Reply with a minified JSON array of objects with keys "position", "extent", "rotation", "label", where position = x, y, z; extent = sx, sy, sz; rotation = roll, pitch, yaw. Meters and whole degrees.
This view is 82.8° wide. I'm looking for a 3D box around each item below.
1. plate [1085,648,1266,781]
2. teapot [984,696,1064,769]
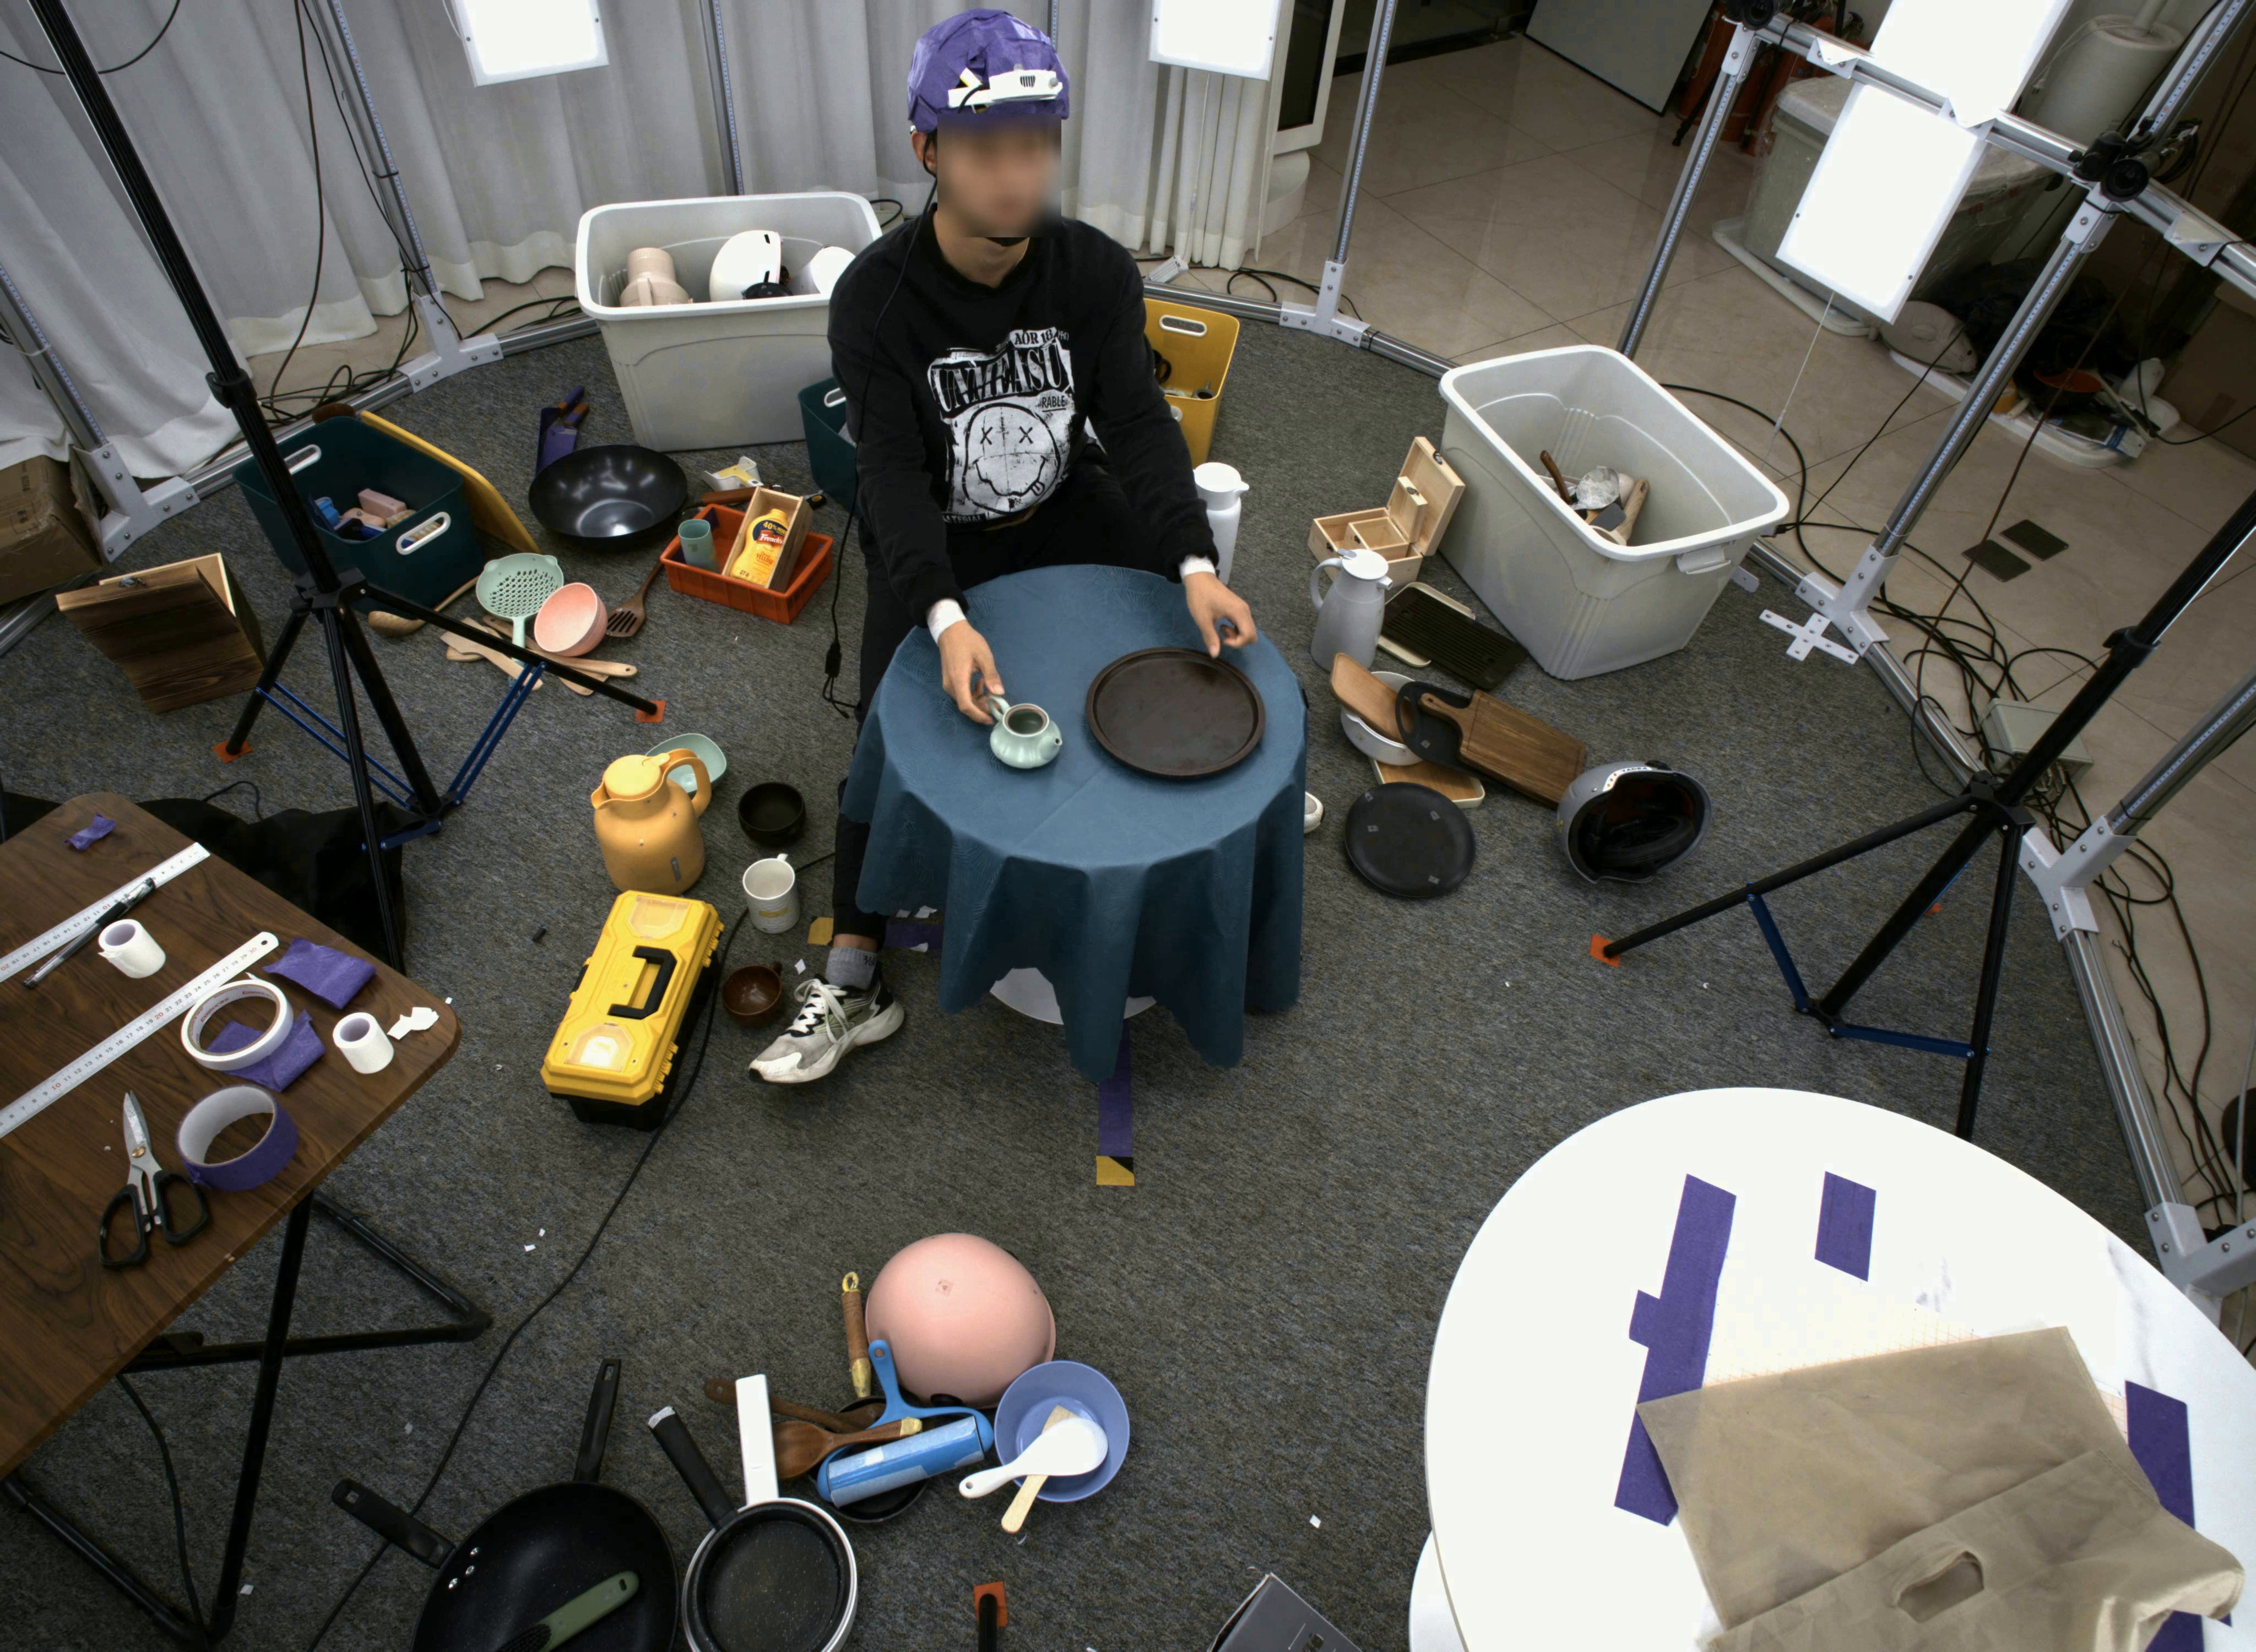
[{"position":[0.066,-0.158,1.795],"extent":[0.254,0.028,0.261],"rotation":[1,50,-2],"label":"plate"},{"position":[-0.141,-0.127,1.732],"extent":[0.138,0.060,0.097],"rotation":[34,57,23],"label":"teapot"}]
